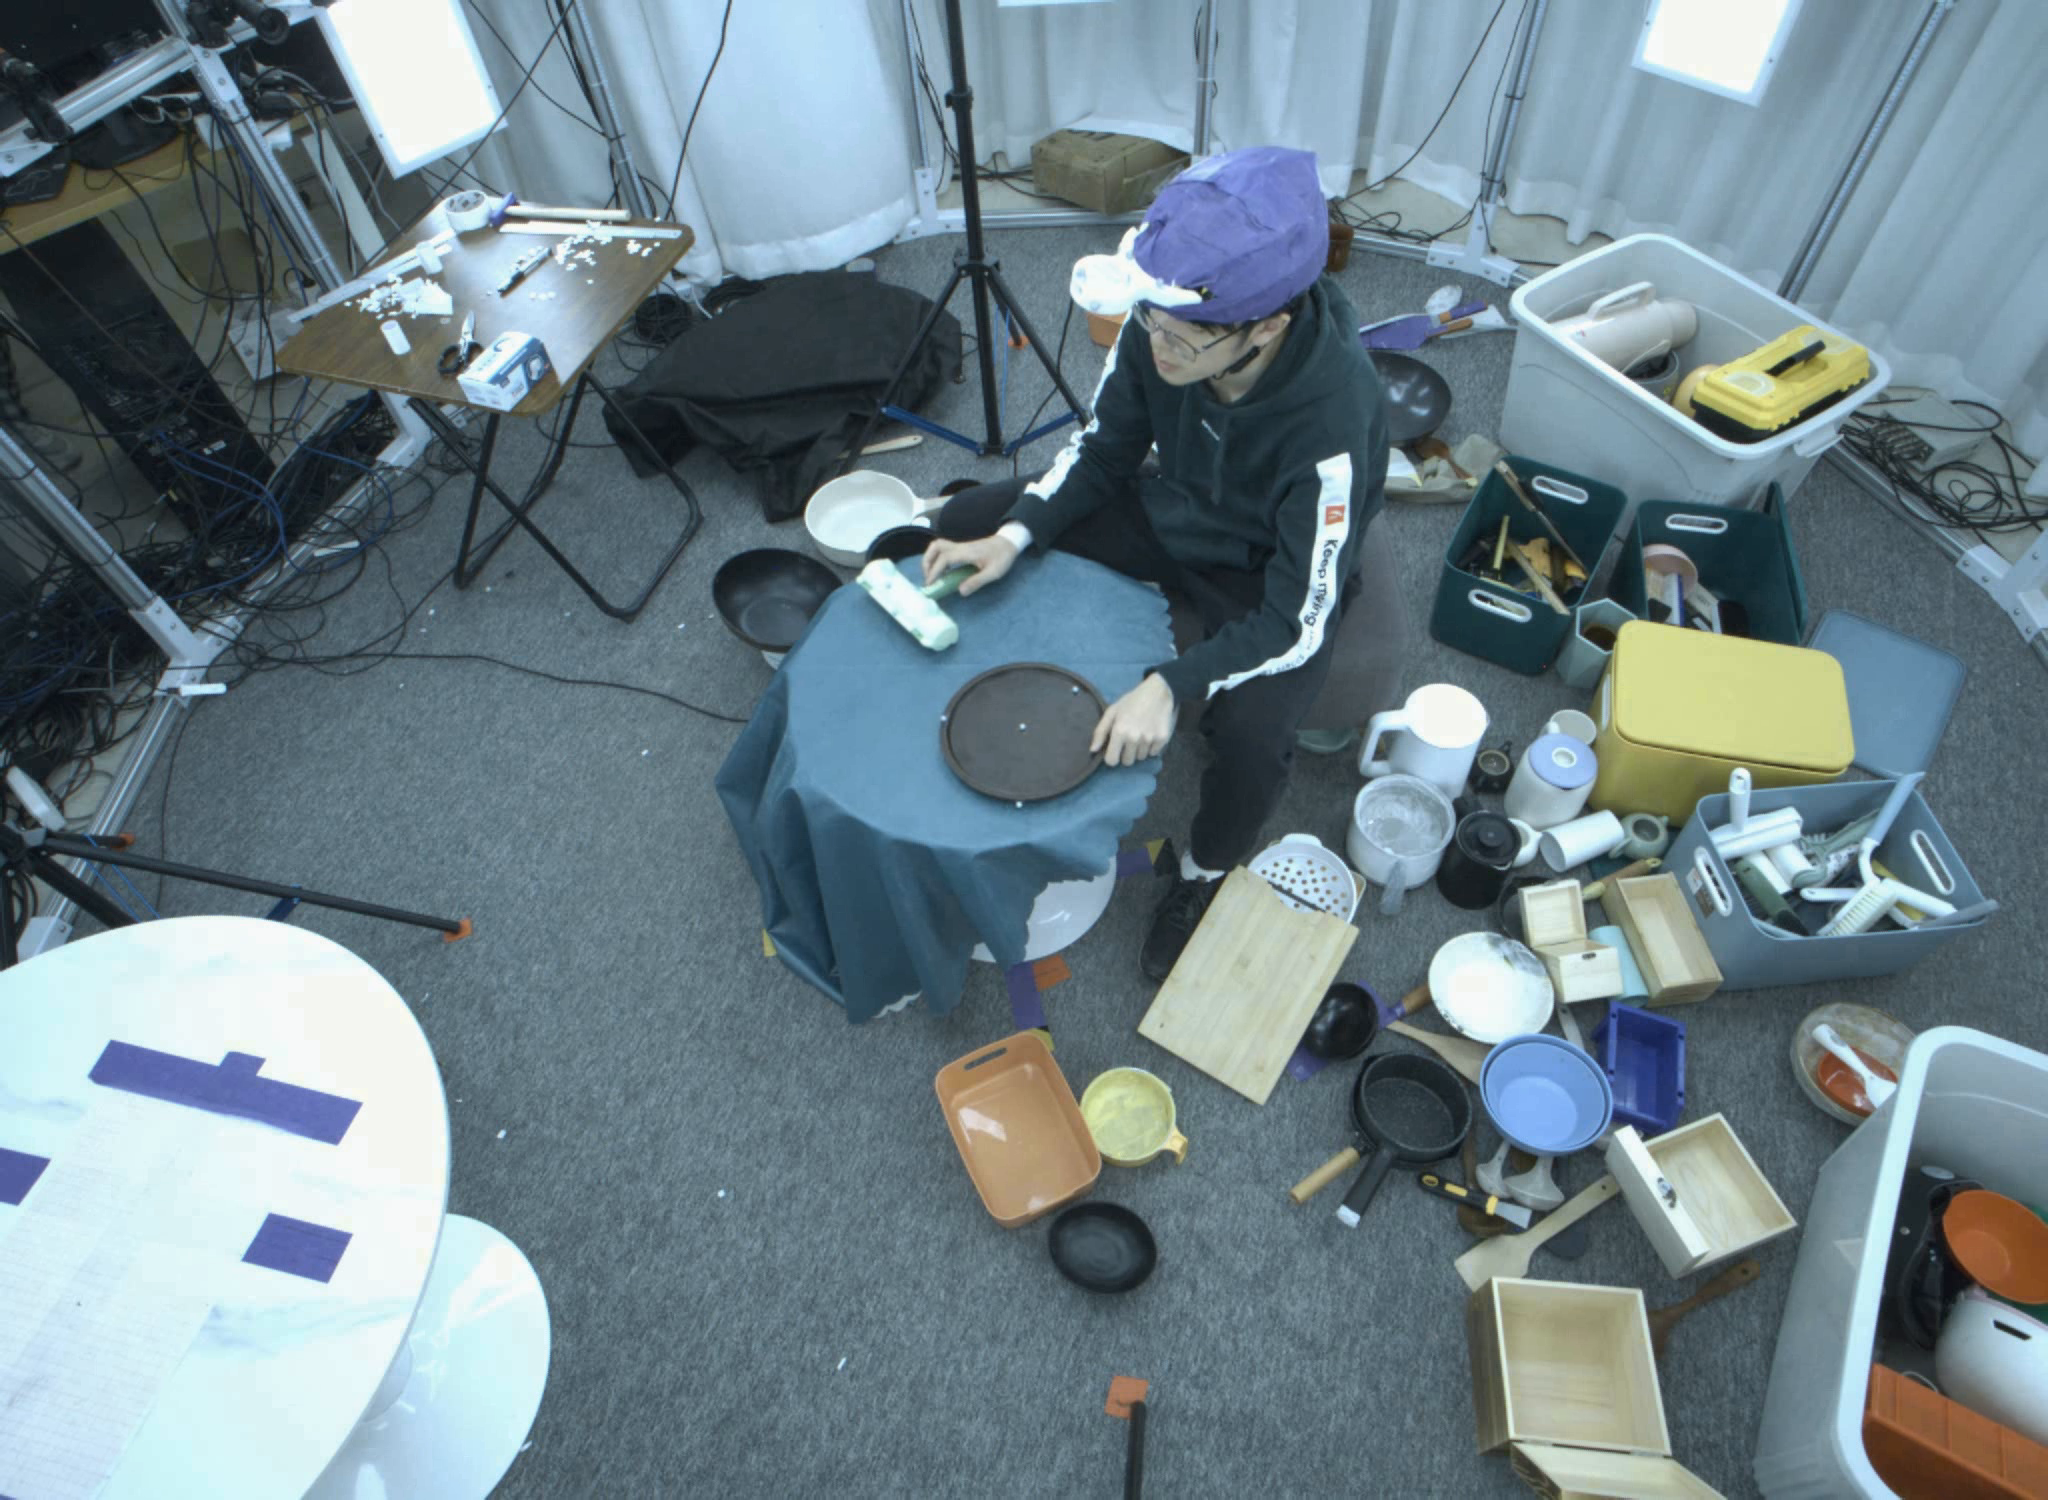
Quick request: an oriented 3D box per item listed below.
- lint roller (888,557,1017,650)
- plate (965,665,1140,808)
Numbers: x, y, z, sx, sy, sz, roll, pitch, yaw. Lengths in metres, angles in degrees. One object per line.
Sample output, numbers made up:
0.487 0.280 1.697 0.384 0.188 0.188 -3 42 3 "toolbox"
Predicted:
-0.090 -0.264 1.924 0.184 0.083 0.195 -35 60 -16 "lint roller"
0.042 -0.021 1.782 0.254 0.029 0.252 -1 54 3 "plate"
